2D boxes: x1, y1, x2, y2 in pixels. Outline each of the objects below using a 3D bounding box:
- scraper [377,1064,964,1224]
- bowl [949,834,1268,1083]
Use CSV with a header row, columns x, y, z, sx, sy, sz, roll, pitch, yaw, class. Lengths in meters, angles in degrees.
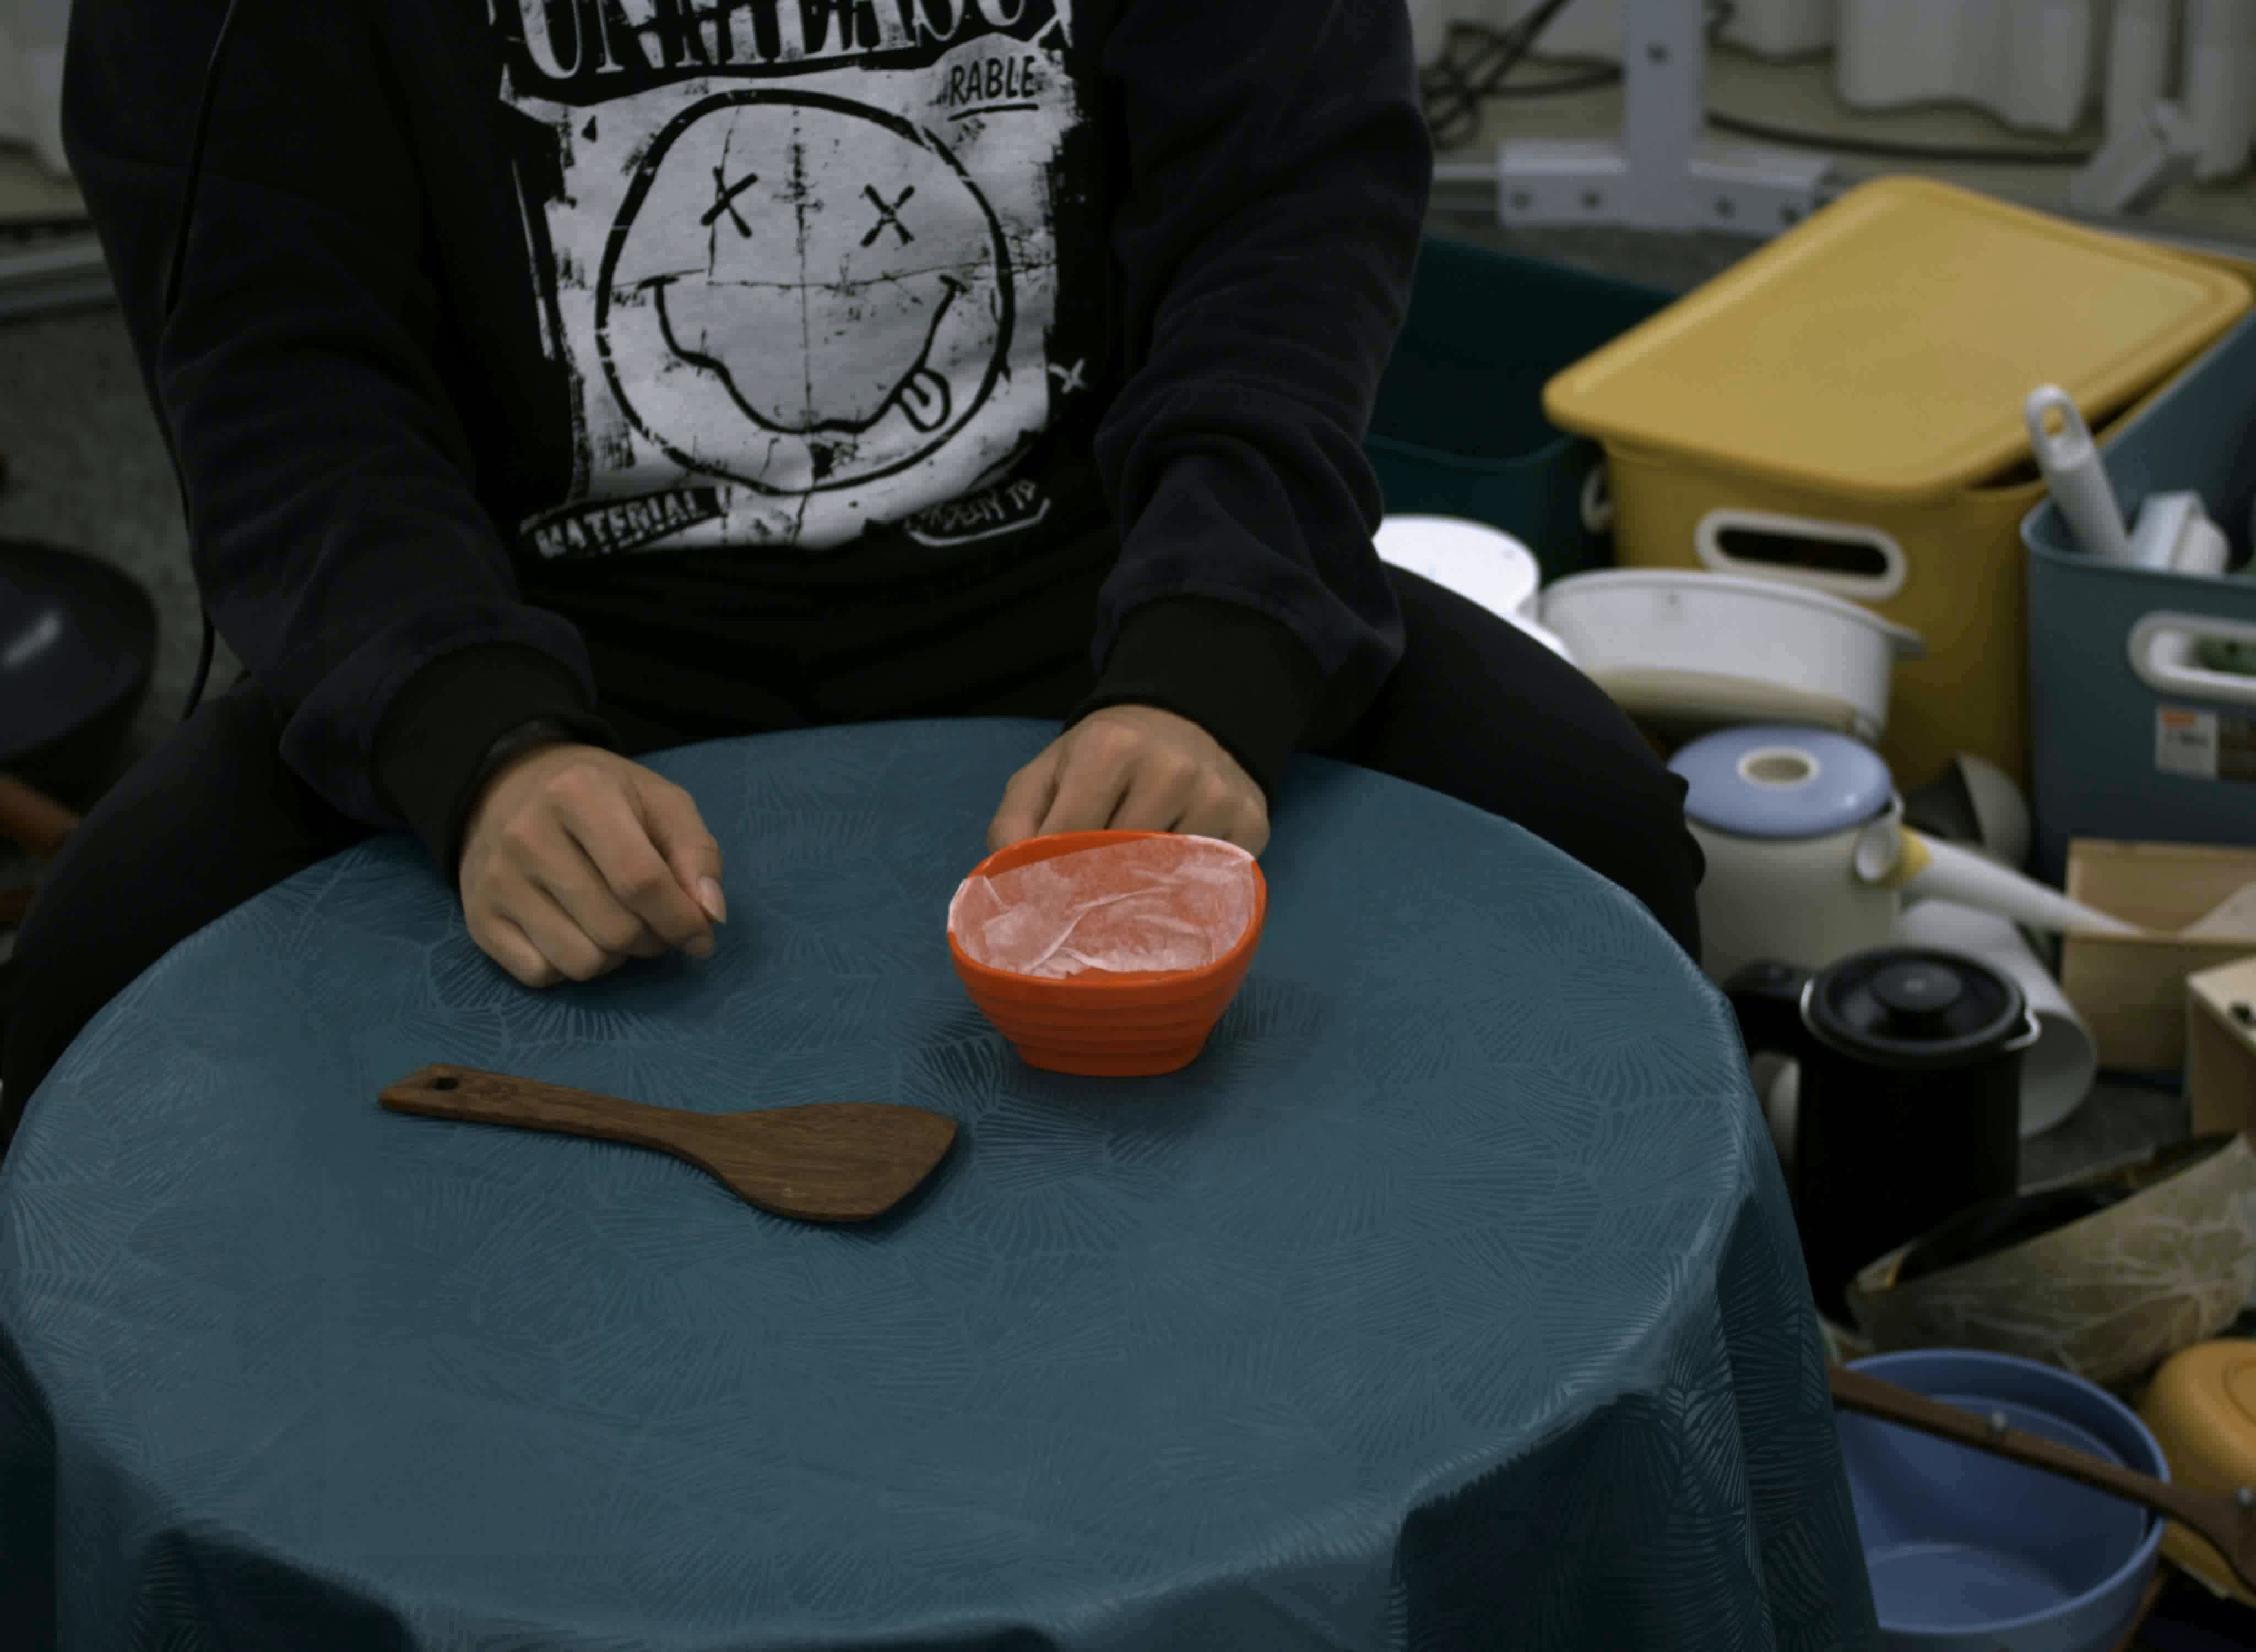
x,y,z,sx,sy,sz,roll,pitch,yaw,class
-0.159,0.103,1.904,0.210,0.011,0.077,8,29,22,scraper
-0.005,0.050,1.948,0.118,0.051,0.121,-3,28,2,bowl
